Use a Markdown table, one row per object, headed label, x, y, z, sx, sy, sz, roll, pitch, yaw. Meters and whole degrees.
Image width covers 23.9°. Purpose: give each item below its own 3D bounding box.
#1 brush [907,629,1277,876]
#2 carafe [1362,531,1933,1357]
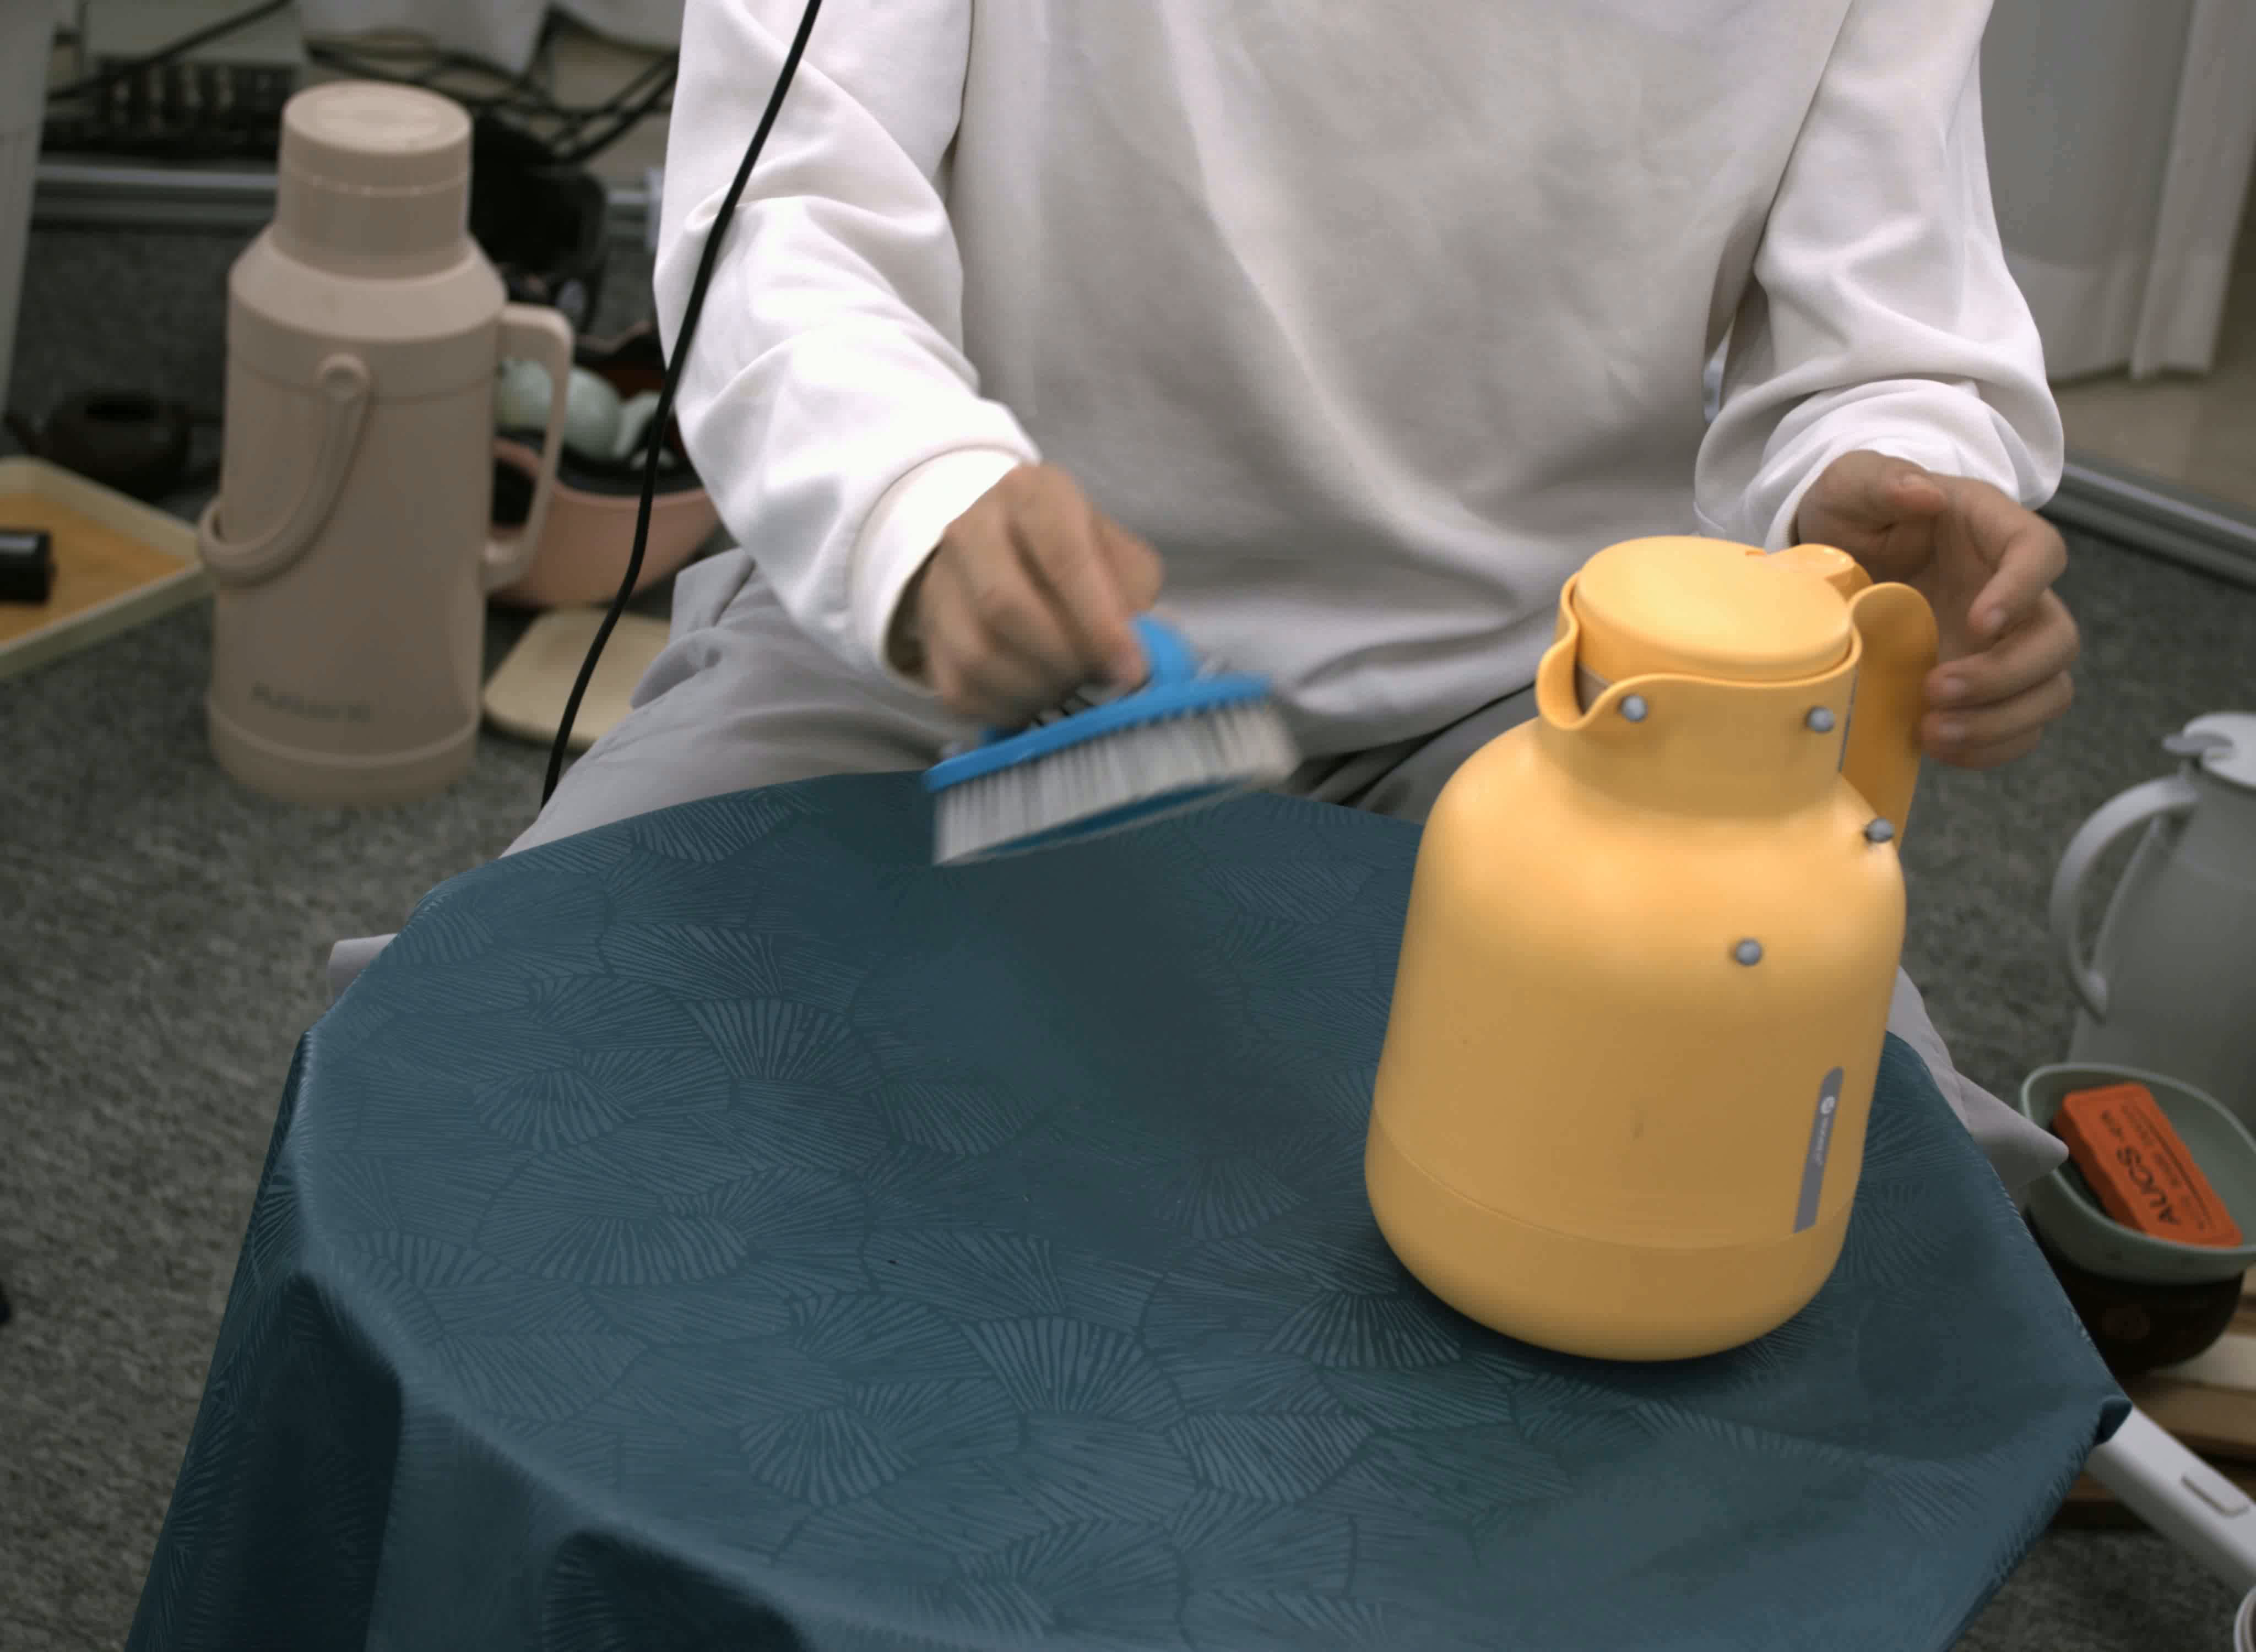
| label | x | y | z | sx | sy | sz | roll | pitch | yaw |
| --- | --- | --- | --- | --- | --- | --- | --- | --- | --- |
| brush | -0.018 | -0.028 | 1.776 | 0.084 | 0.064 | 0.142 | -14 | -2 | -43 |
| carafe | 0.184 | 0.030 | 1.748 | 0.201 | 0.259 | 0.165 | -20 | 39 | -41 |
